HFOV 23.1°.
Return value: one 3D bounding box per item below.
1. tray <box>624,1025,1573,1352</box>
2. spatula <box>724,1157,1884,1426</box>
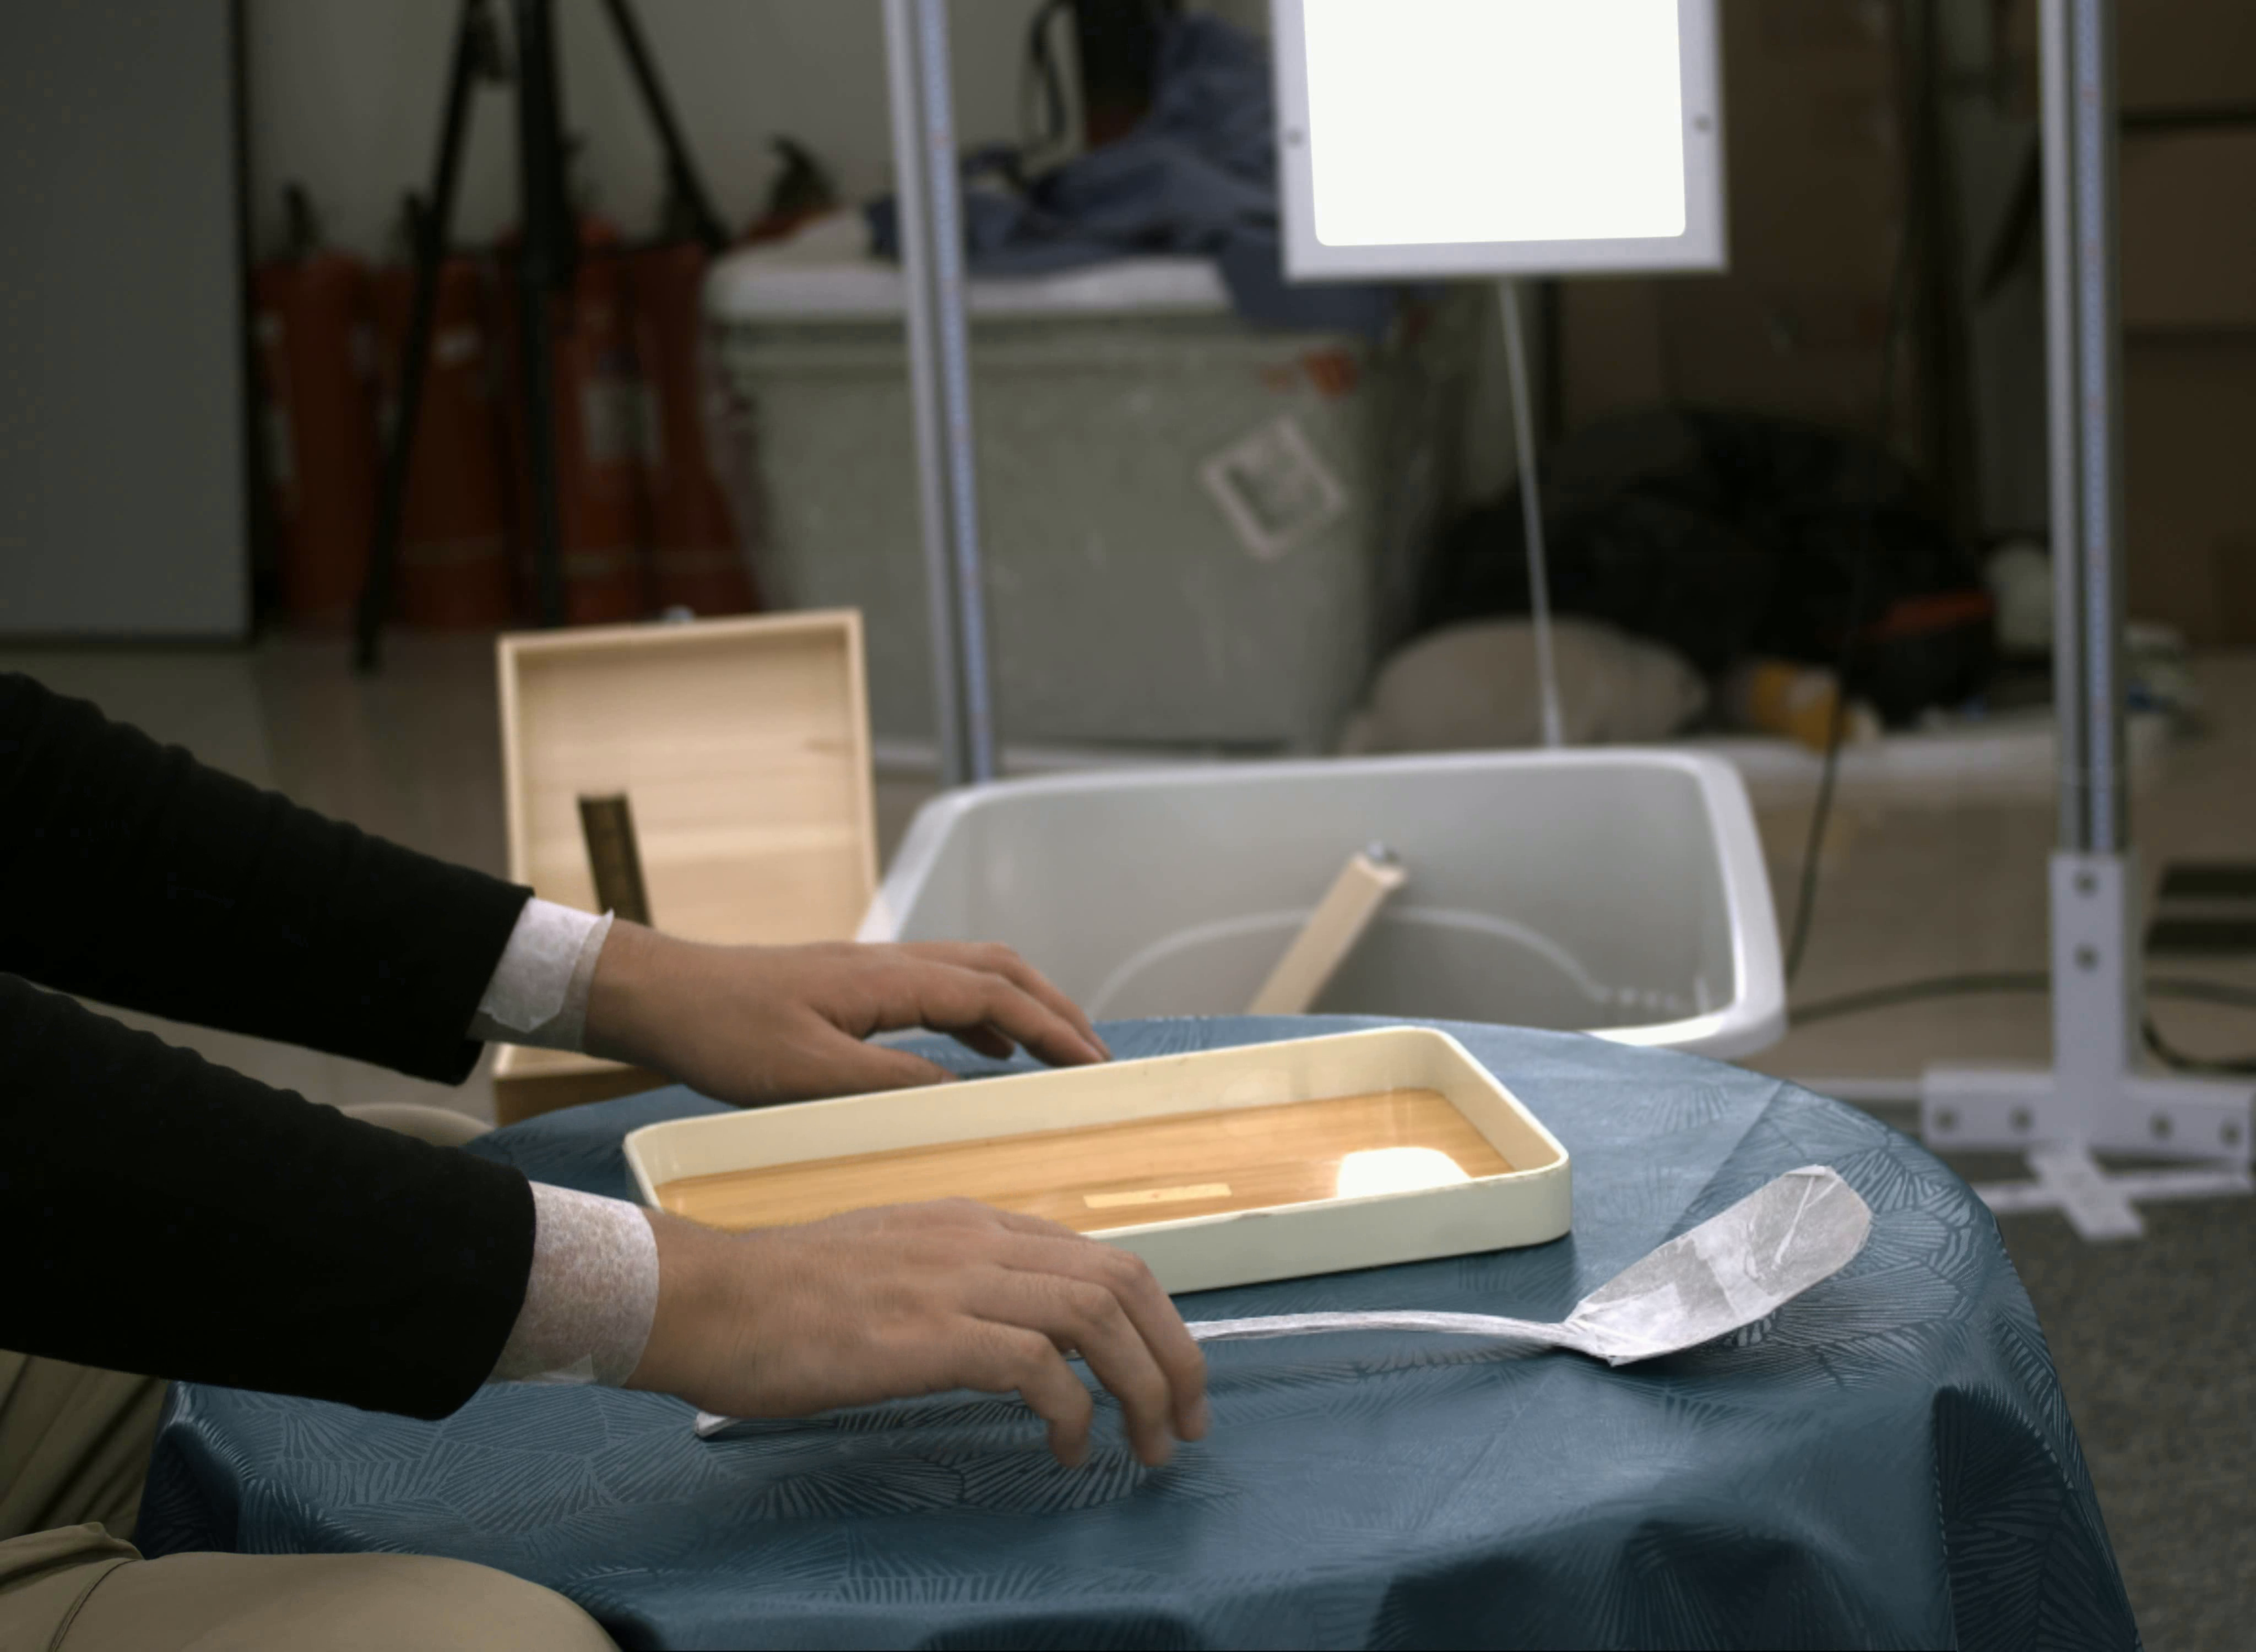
[{"bbox_3d":[-0.014,0.121,1.870,0.297,0.027,0.192,-7,14,-8],"label":"tray"},{"bbox_3d":[0.054,0.150,1.702,0.363,0.045,0.098,-5,14,-1],"label":"spatula"}]
